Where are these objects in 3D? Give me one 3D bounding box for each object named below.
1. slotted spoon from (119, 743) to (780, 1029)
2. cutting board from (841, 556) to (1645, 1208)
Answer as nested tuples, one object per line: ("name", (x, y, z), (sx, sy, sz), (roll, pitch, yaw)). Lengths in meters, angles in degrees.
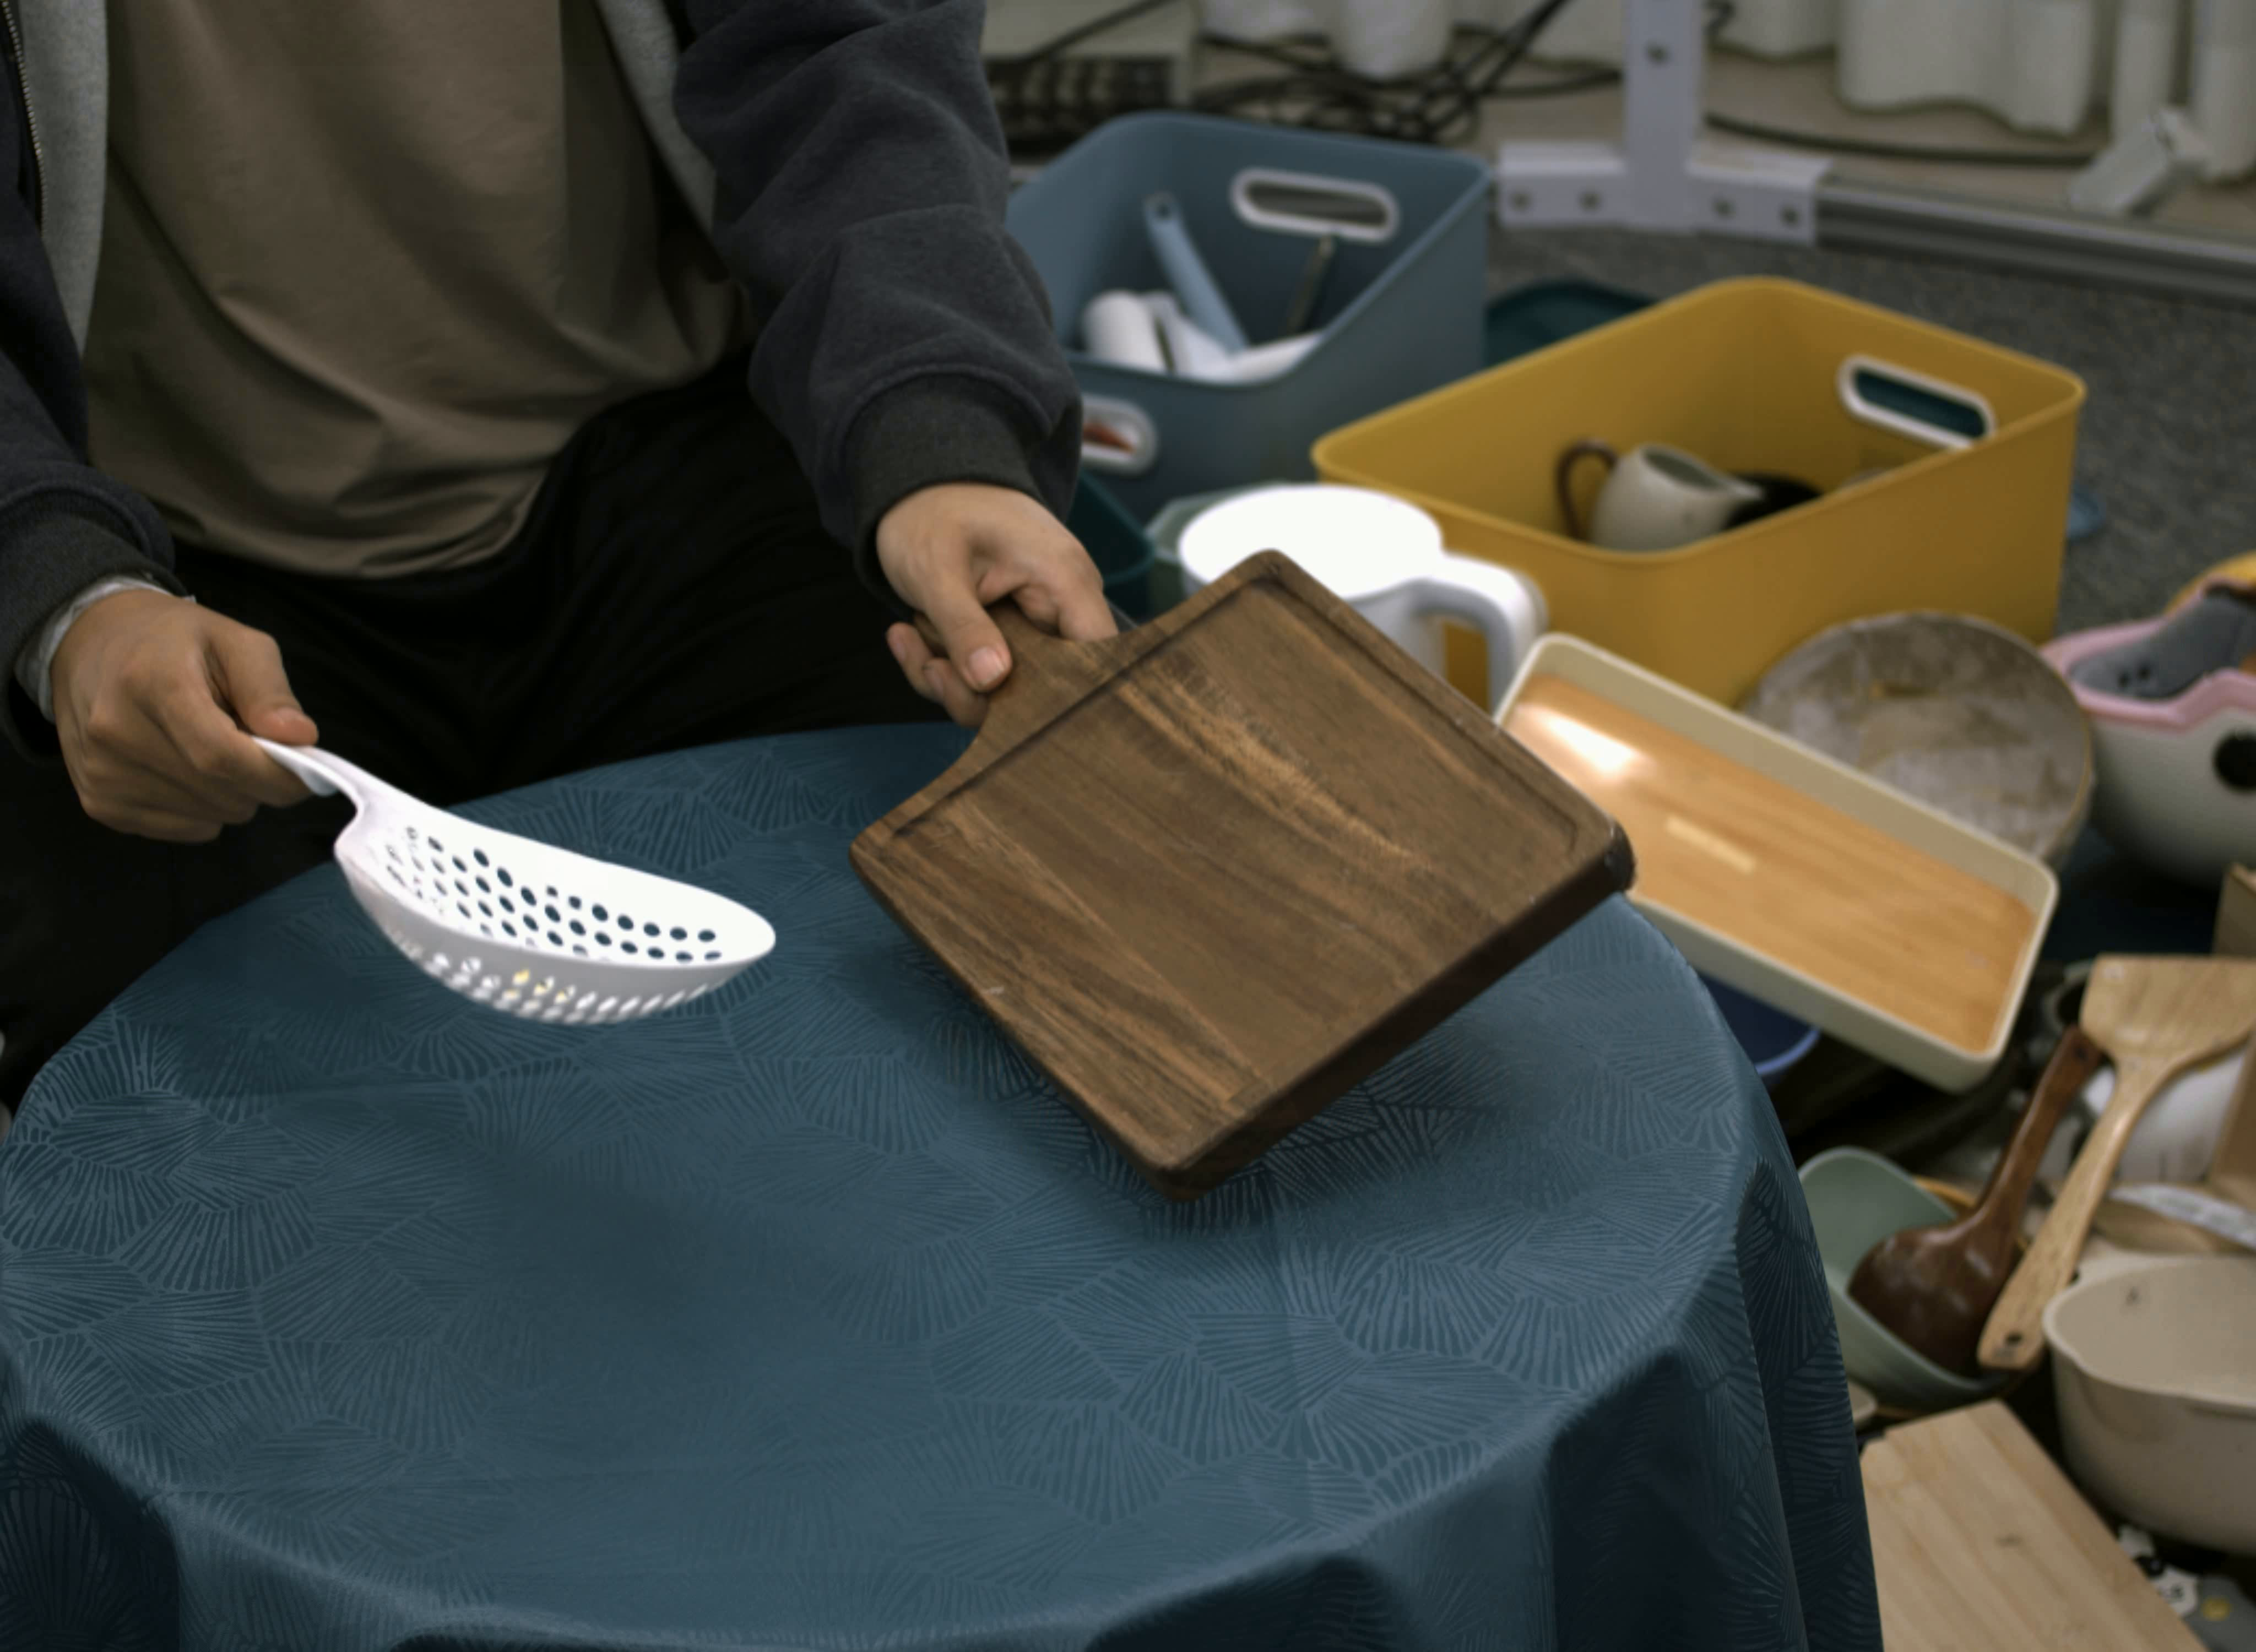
("slotted spoon", (-0.244, 0.008, 1.860), (0.137, 0.050, 0.348), (0, 18, -36))
("cutting board", (0.012, -0.008, 1.973), (0.202, 0.023, 0.354), (-34, 38, -11))
